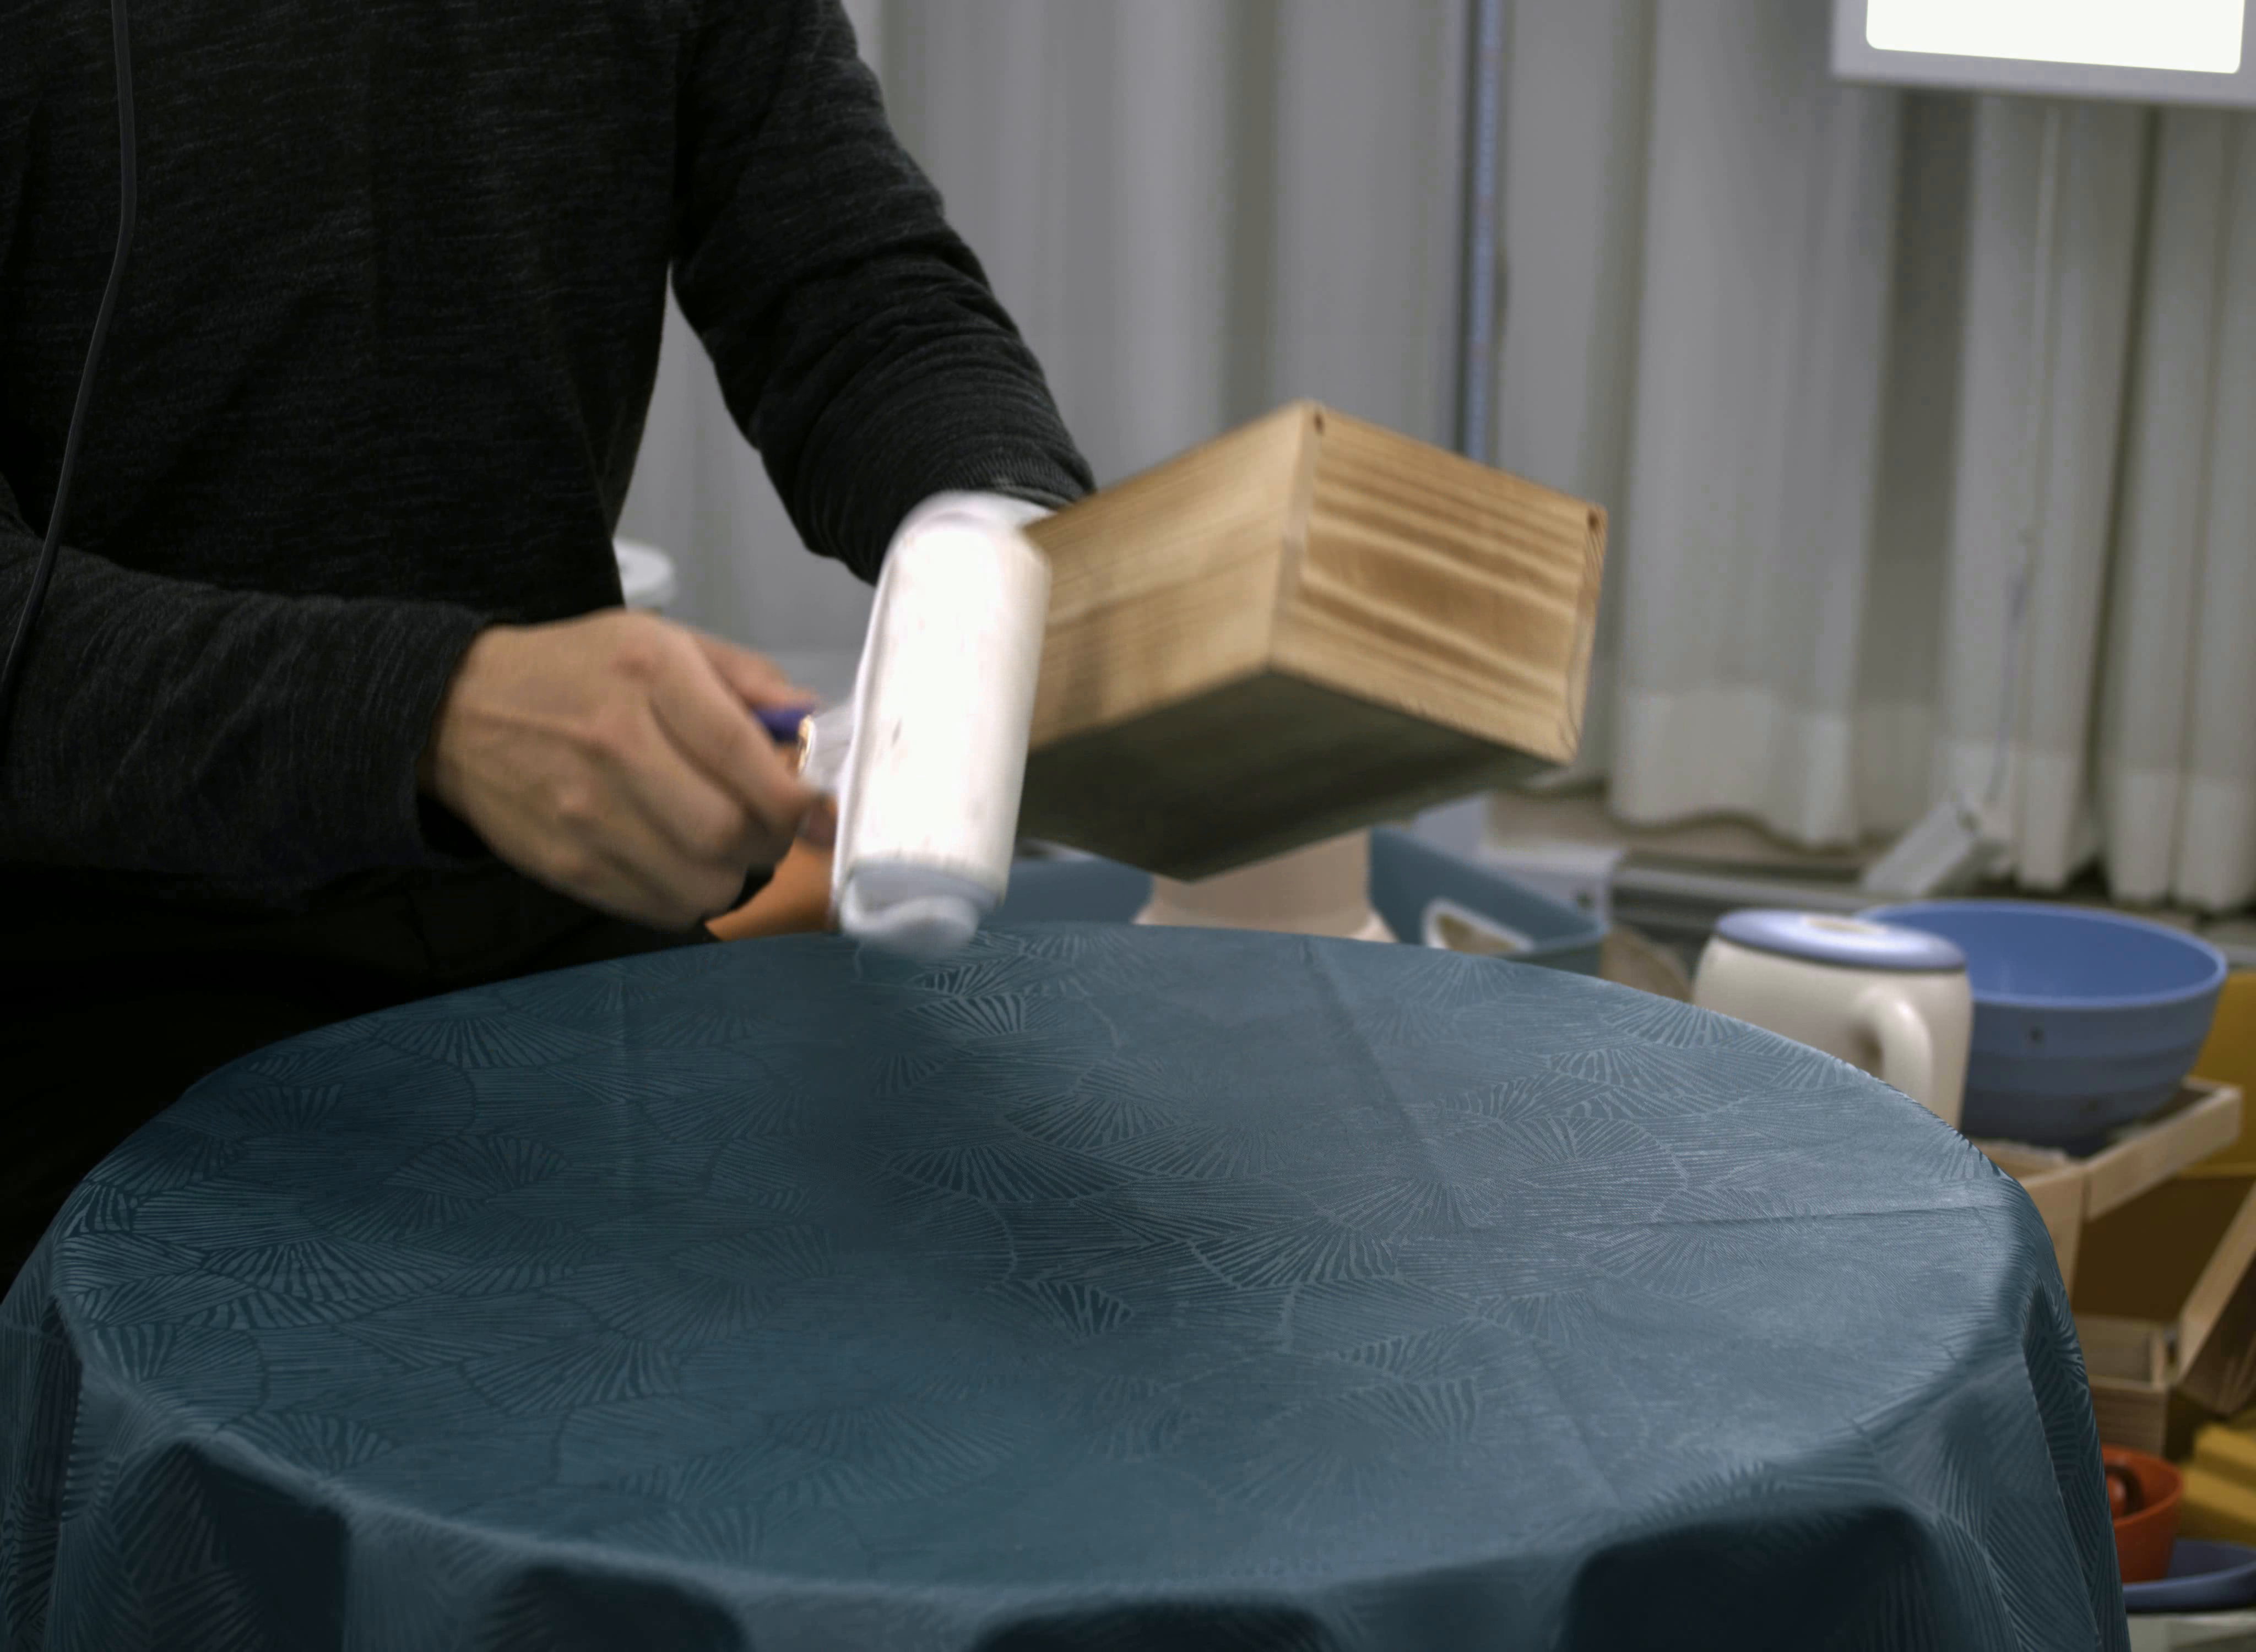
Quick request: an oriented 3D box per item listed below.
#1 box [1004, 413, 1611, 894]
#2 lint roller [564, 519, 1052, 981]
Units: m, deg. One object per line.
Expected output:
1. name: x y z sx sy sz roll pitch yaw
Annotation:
1. box: 0.036 -0.046 1.559 0.108 0.080 0.210 16 -18 -29
2. lint roller: -0.104 -0.019 1.518 0.179 0.132 0.051 -3 -22 35
